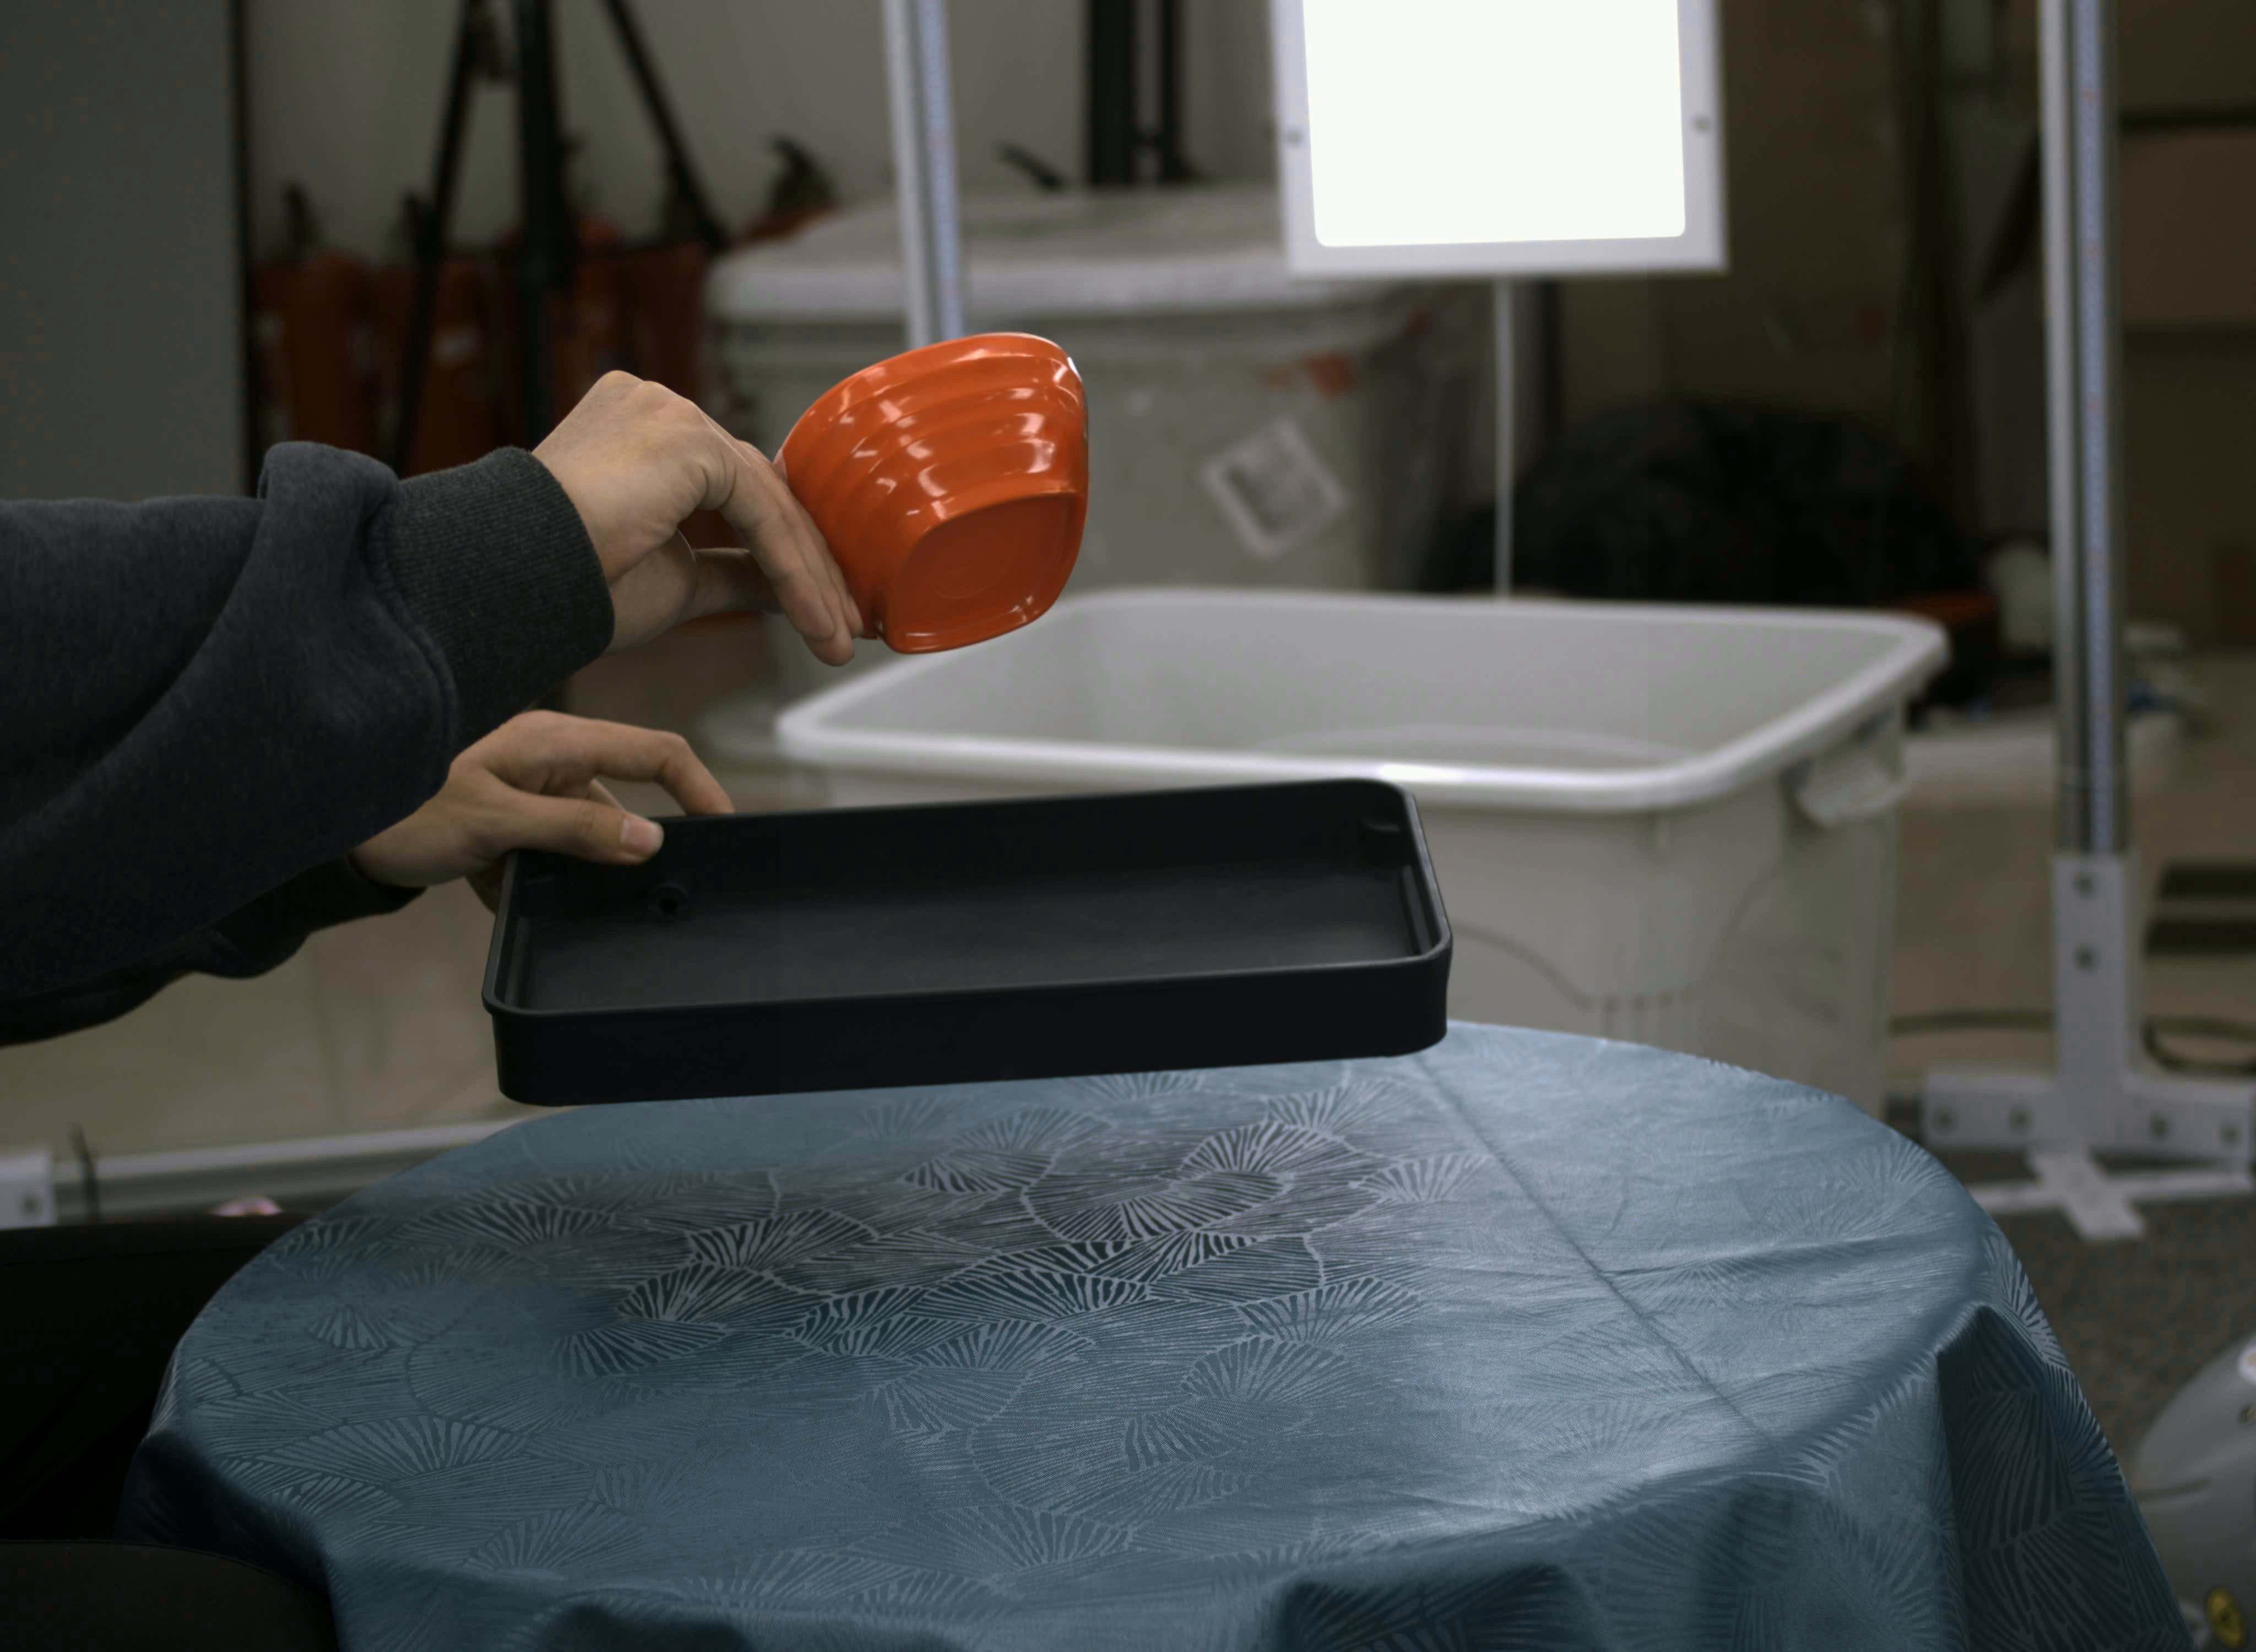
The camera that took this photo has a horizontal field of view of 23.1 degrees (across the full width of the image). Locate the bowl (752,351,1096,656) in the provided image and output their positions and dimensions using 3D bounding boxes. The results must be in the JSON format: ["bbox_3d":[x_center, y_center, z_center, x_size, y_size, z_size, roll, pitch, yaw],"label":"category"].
[{"bbox_3d":[-0.056,-0.093,1.706,0.118,0.051,0.119,-16,-26,-10],"label":"bowl"}]

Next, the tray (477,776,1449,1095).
[{"bbox_3d":[-0.056,0.035,1.860,0.317,0.037,0.184,-3,20,0],"label":"tray"}]
